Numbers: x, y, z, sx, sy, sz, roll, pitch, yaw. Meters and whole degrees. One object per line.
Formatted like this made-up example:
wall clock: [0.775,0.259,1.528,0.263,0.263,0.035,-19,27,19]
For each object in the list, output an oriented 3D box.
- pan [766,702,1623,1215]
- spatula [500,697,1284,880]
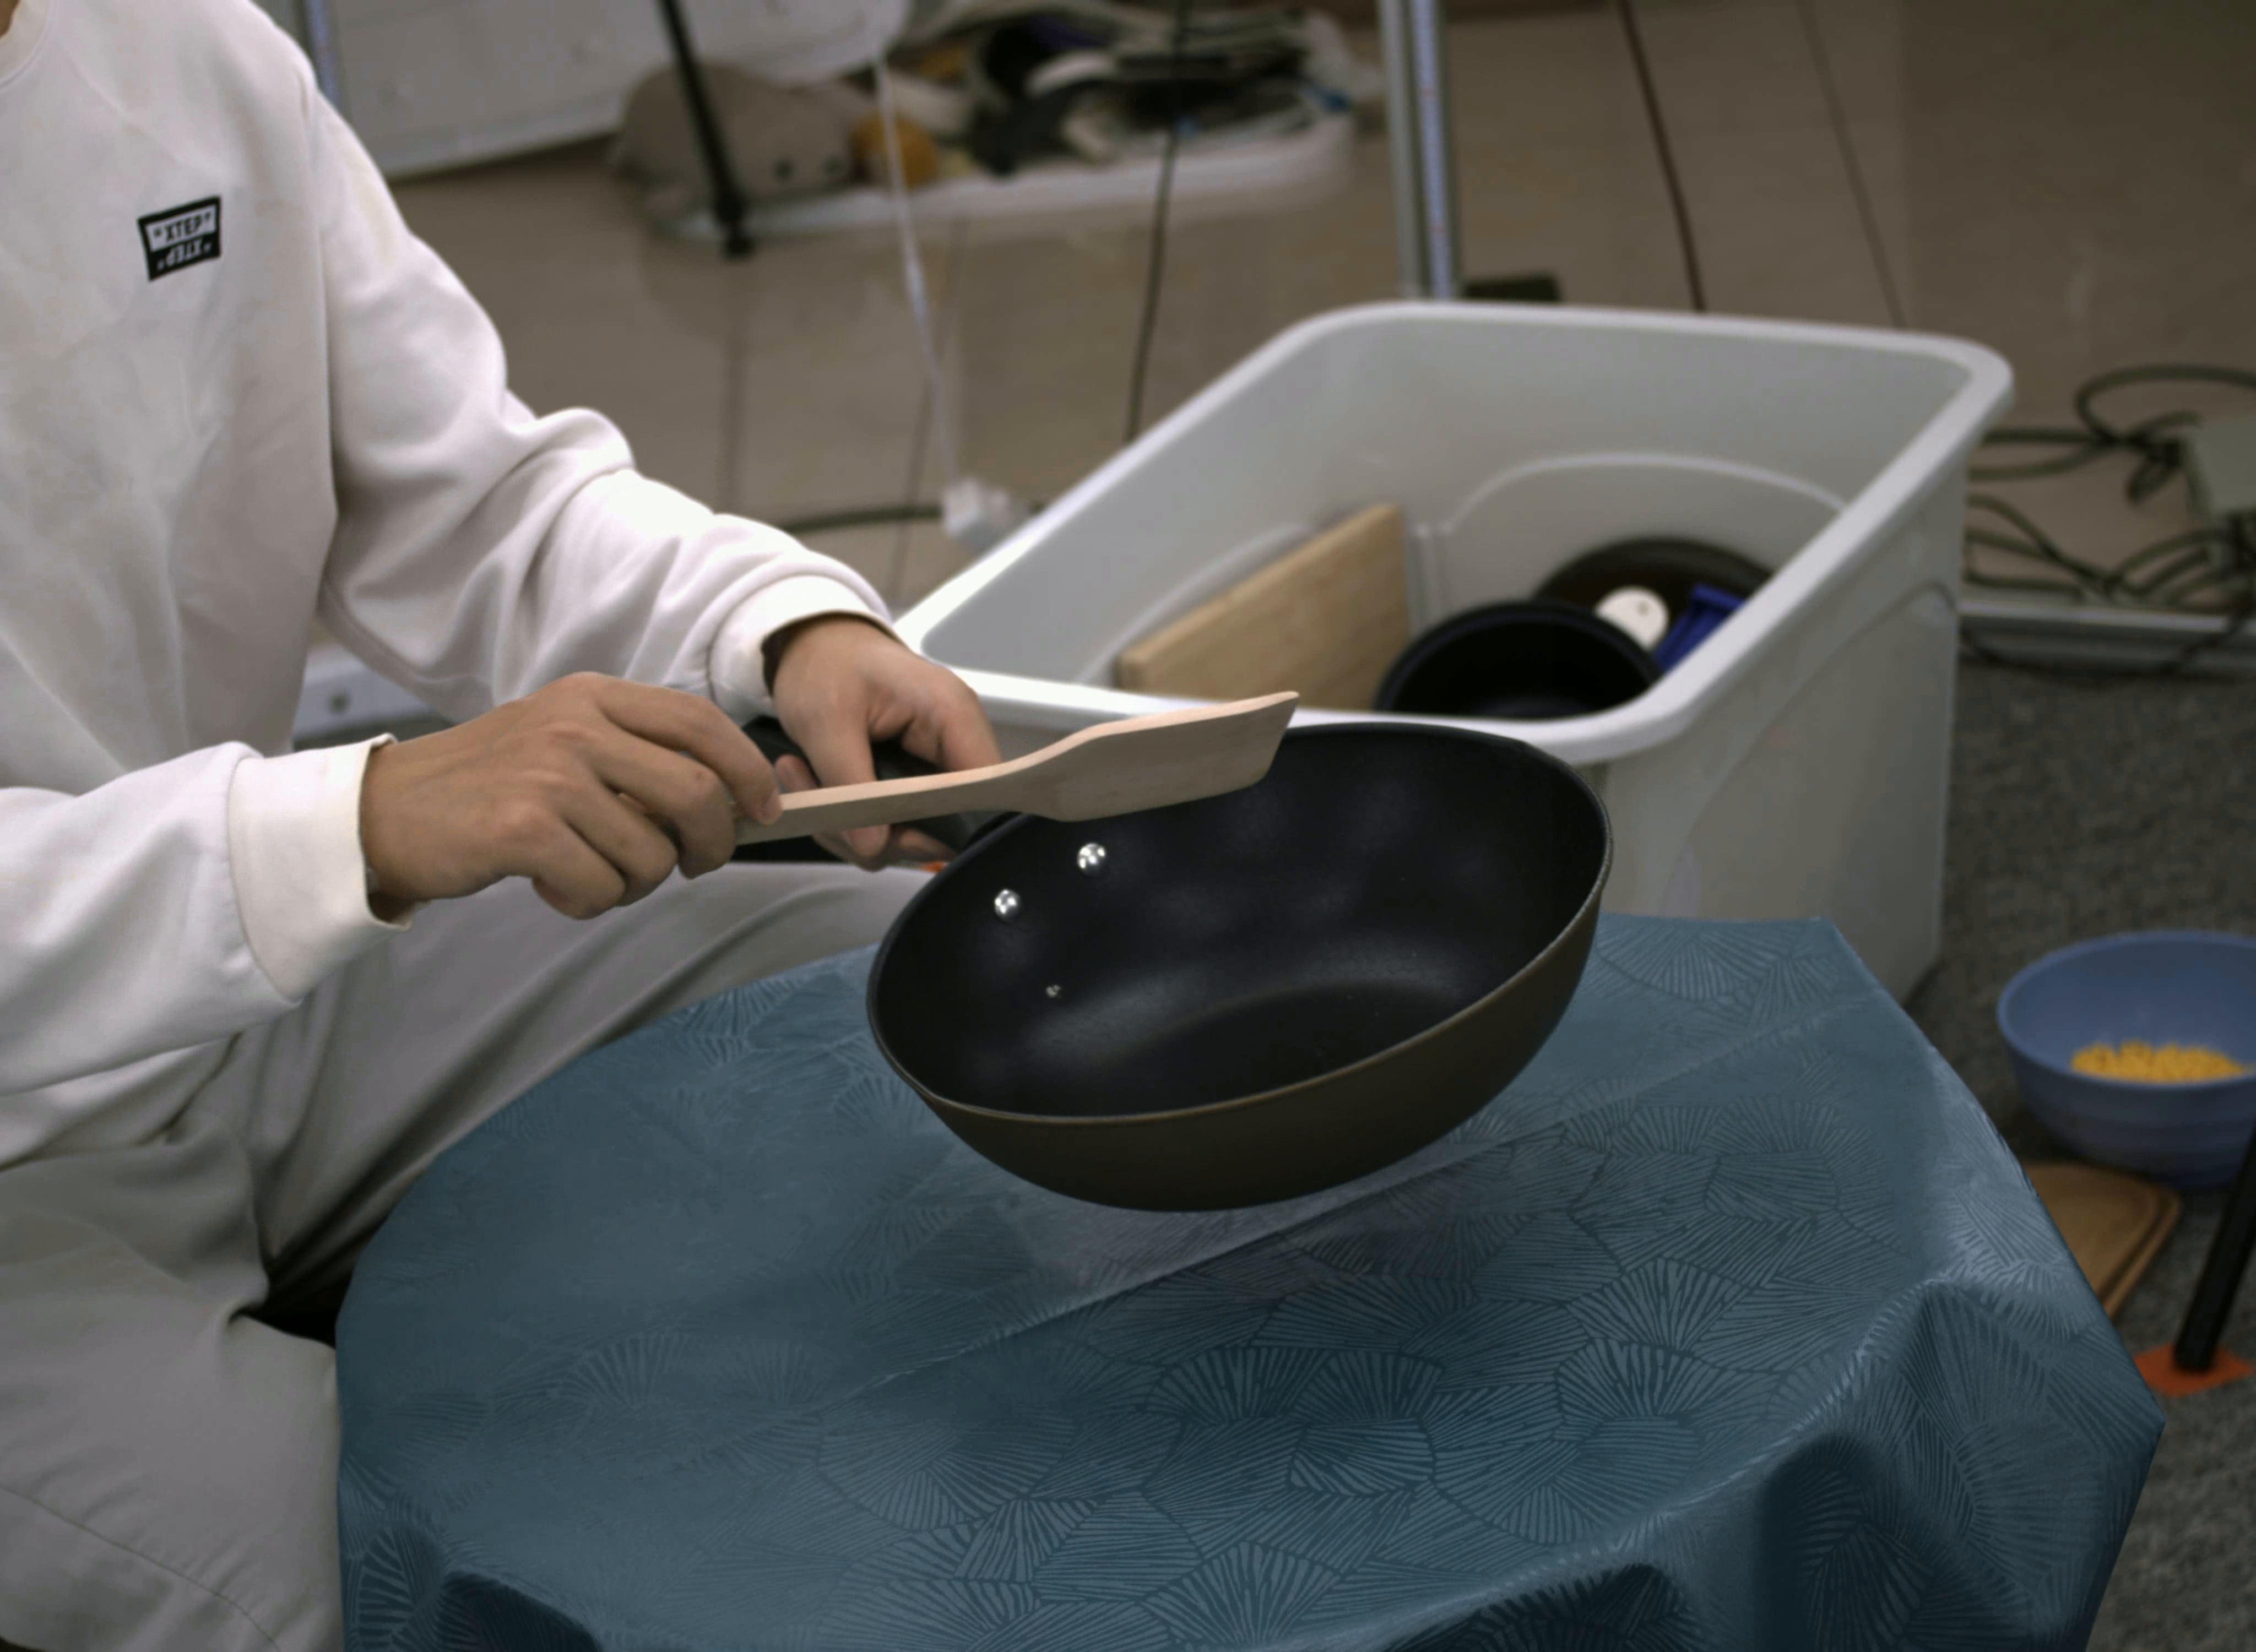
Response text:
pan: [-0.004,0.042,2.154,0.286,0.088,0.459,-30,30,-27]
spatula: [-0.085,-0.009,2.060,0.292,0.073,0.010,-9,66,-15]
